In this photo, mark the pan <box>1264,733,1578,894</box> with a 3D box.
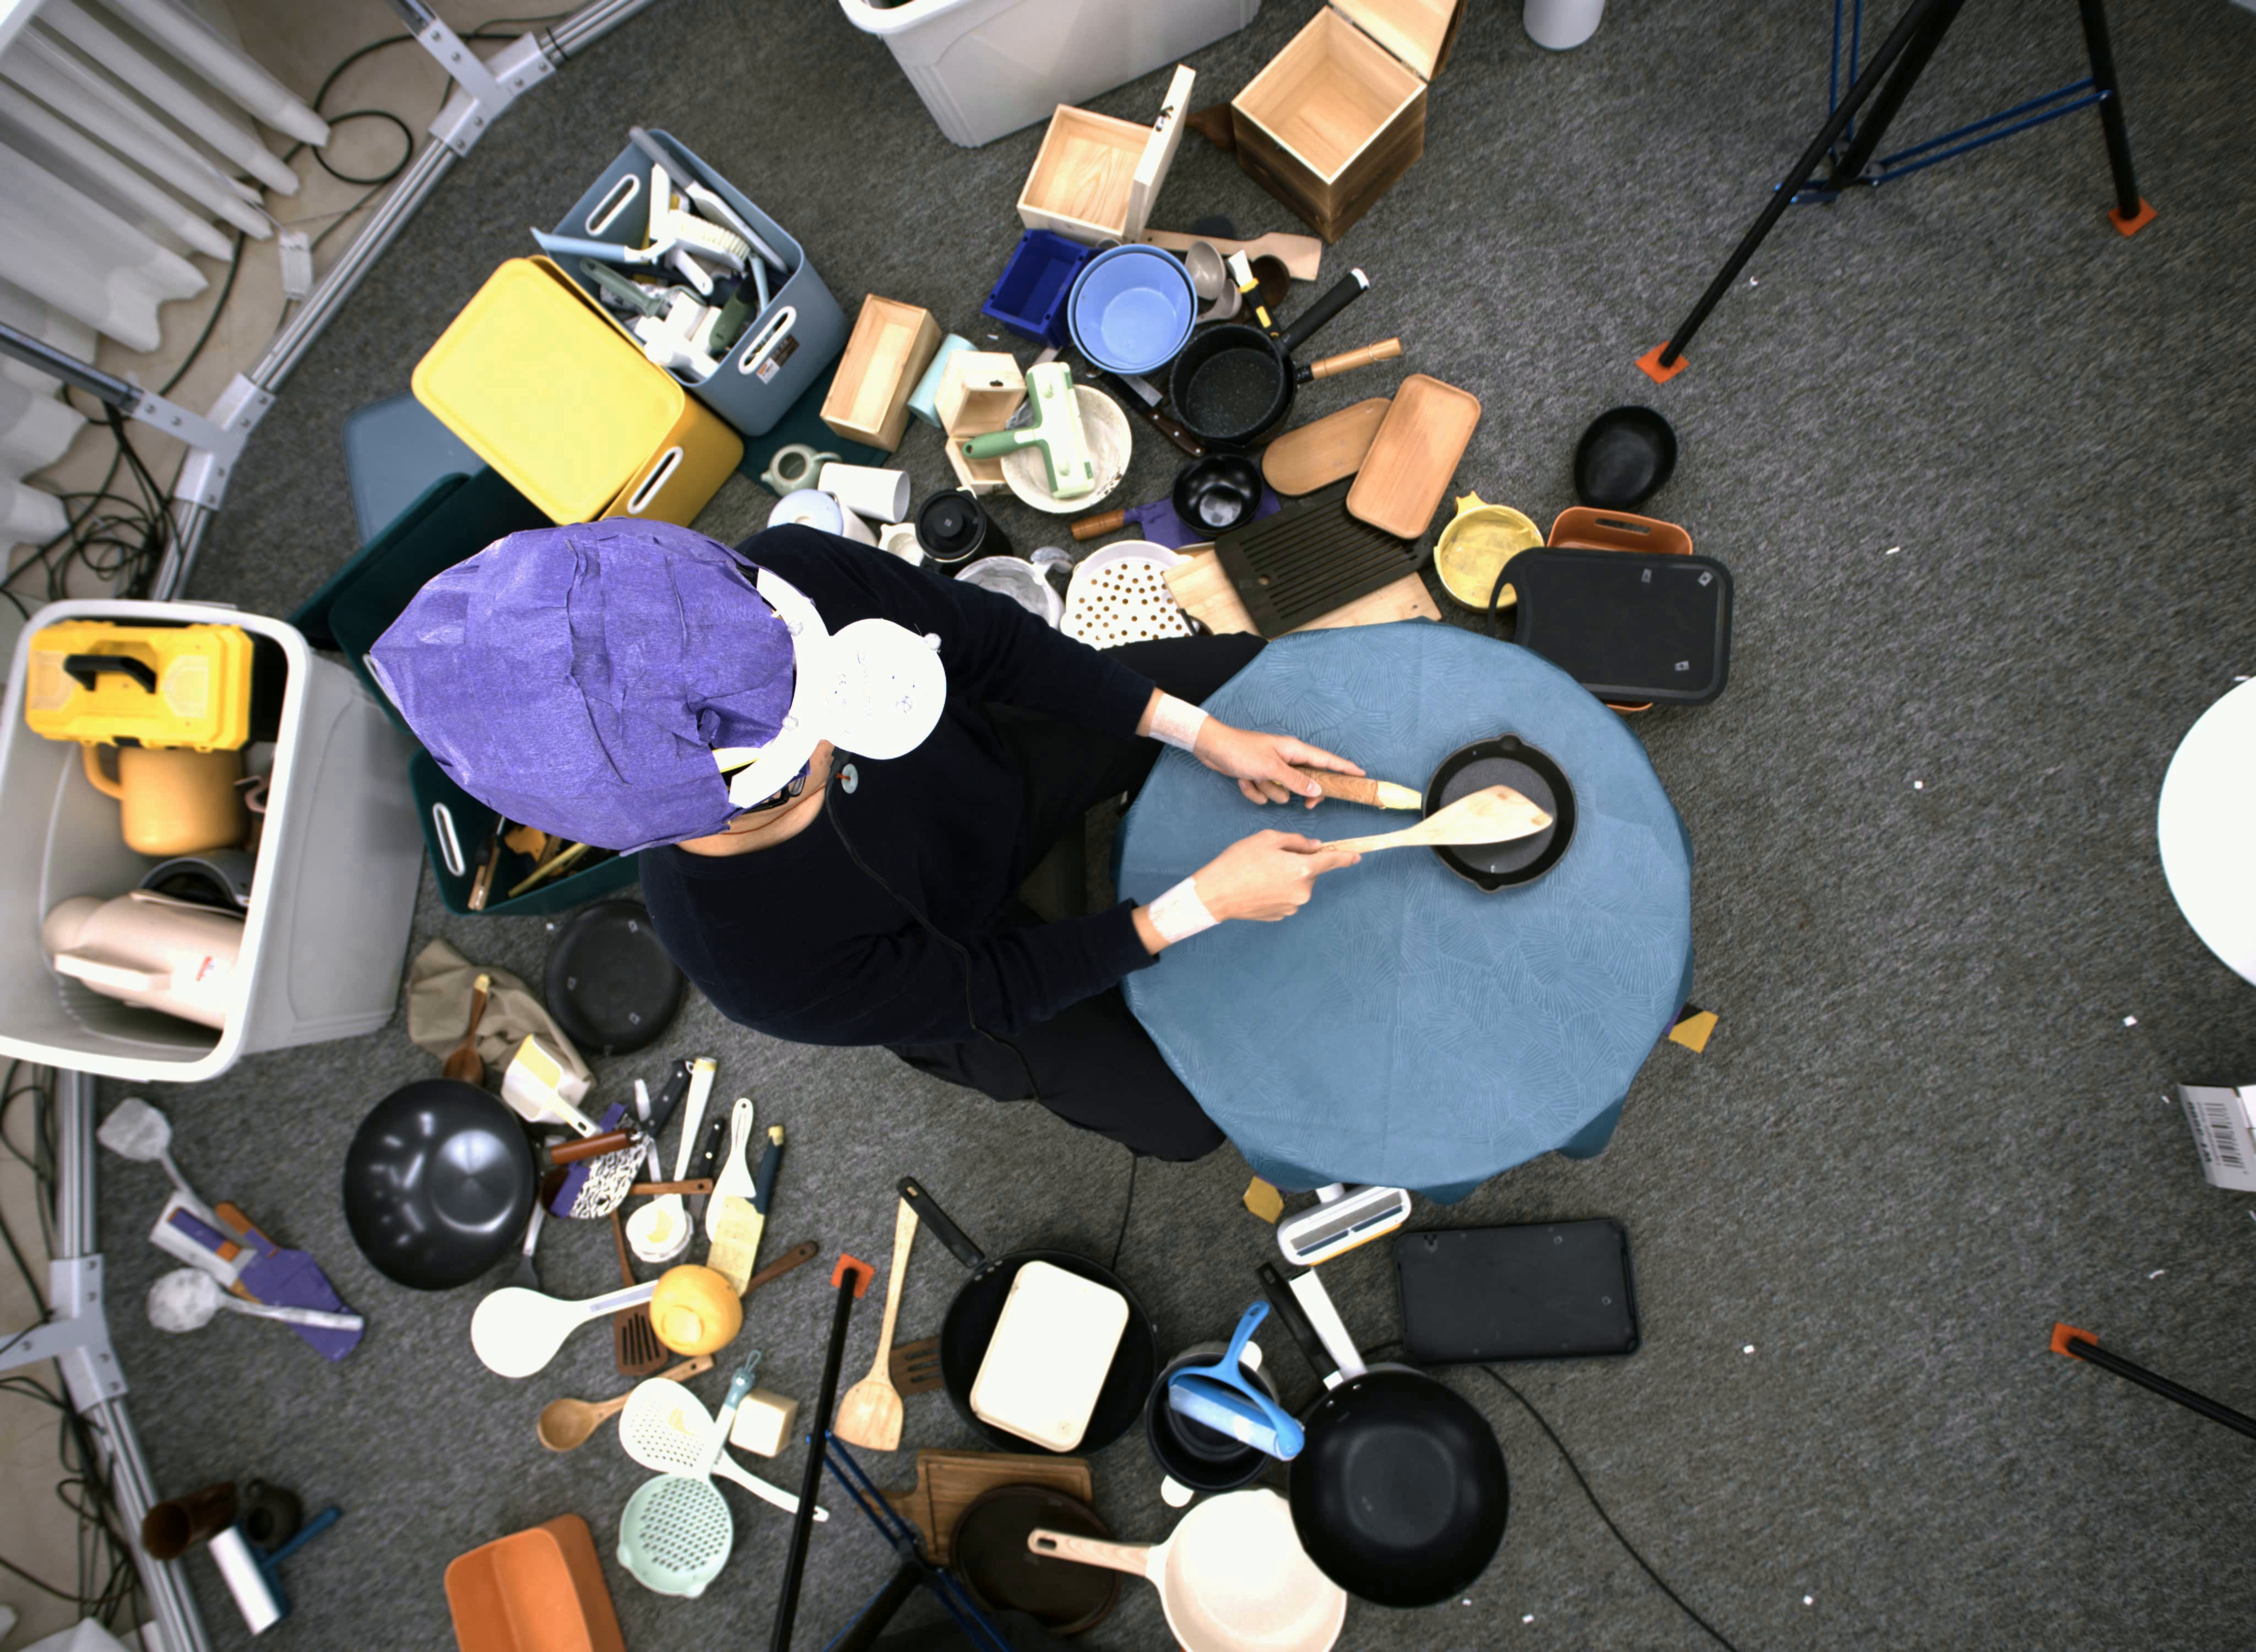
[{"bbox_3d":[0.302,-0.031,1.434,0.325,0.049,0.168,11,88,9],"label":"pan"}]

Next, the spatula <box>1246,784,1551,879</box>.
[{"bbox_3d":[0.266,0.008,1.376,0.325,0.017,0.078,-12,41,-17],"label":"spatula"}]
